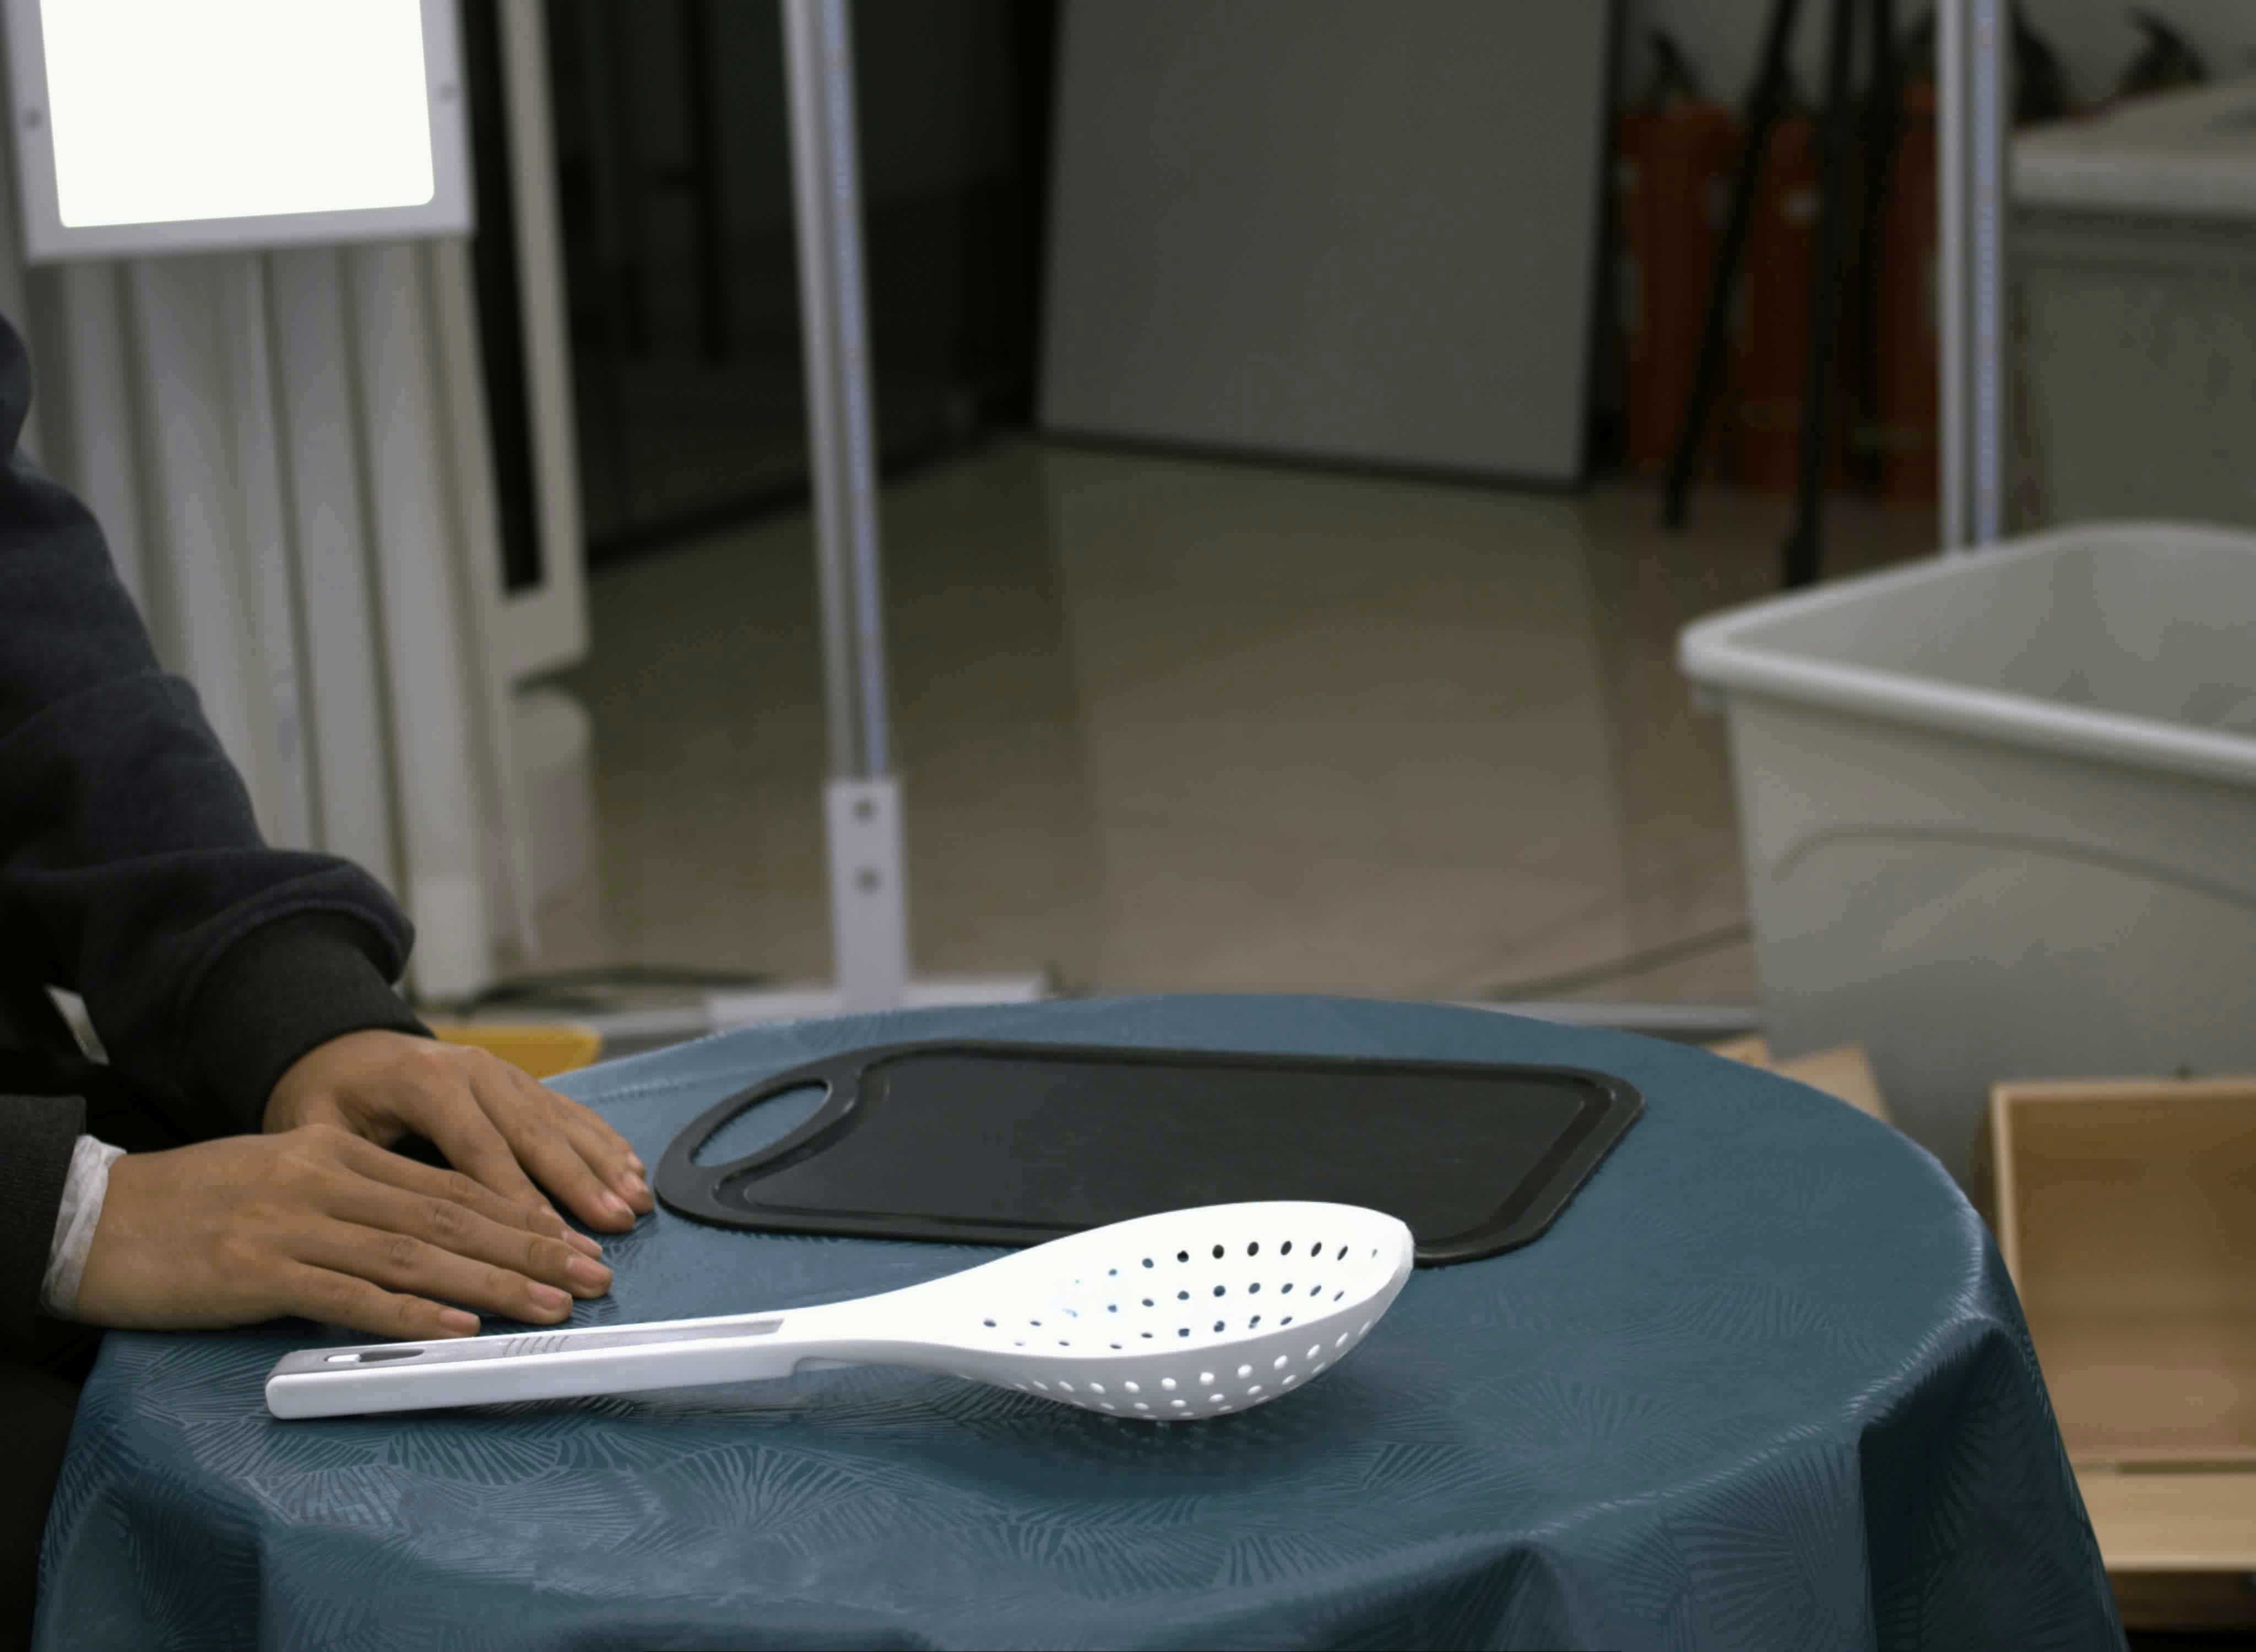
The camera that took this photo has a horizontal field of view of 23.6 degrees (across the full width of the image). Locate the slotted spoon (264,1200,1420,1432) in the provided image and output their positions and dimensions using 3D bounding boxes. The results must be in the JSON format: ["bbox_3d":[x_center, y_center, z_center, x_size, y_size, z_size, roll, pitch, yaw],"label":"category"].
[{"bbox_3d":[-0.085,0.149,1.580,0.347,0.046,0.135,-3,12,10],"label":"slotted spoon"}]

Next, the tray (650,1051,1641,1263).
[{"bbox_3d":[0.001,0.108,1.810,0.325,0.010,0.209,1,14,21],"label":"tray"}]
